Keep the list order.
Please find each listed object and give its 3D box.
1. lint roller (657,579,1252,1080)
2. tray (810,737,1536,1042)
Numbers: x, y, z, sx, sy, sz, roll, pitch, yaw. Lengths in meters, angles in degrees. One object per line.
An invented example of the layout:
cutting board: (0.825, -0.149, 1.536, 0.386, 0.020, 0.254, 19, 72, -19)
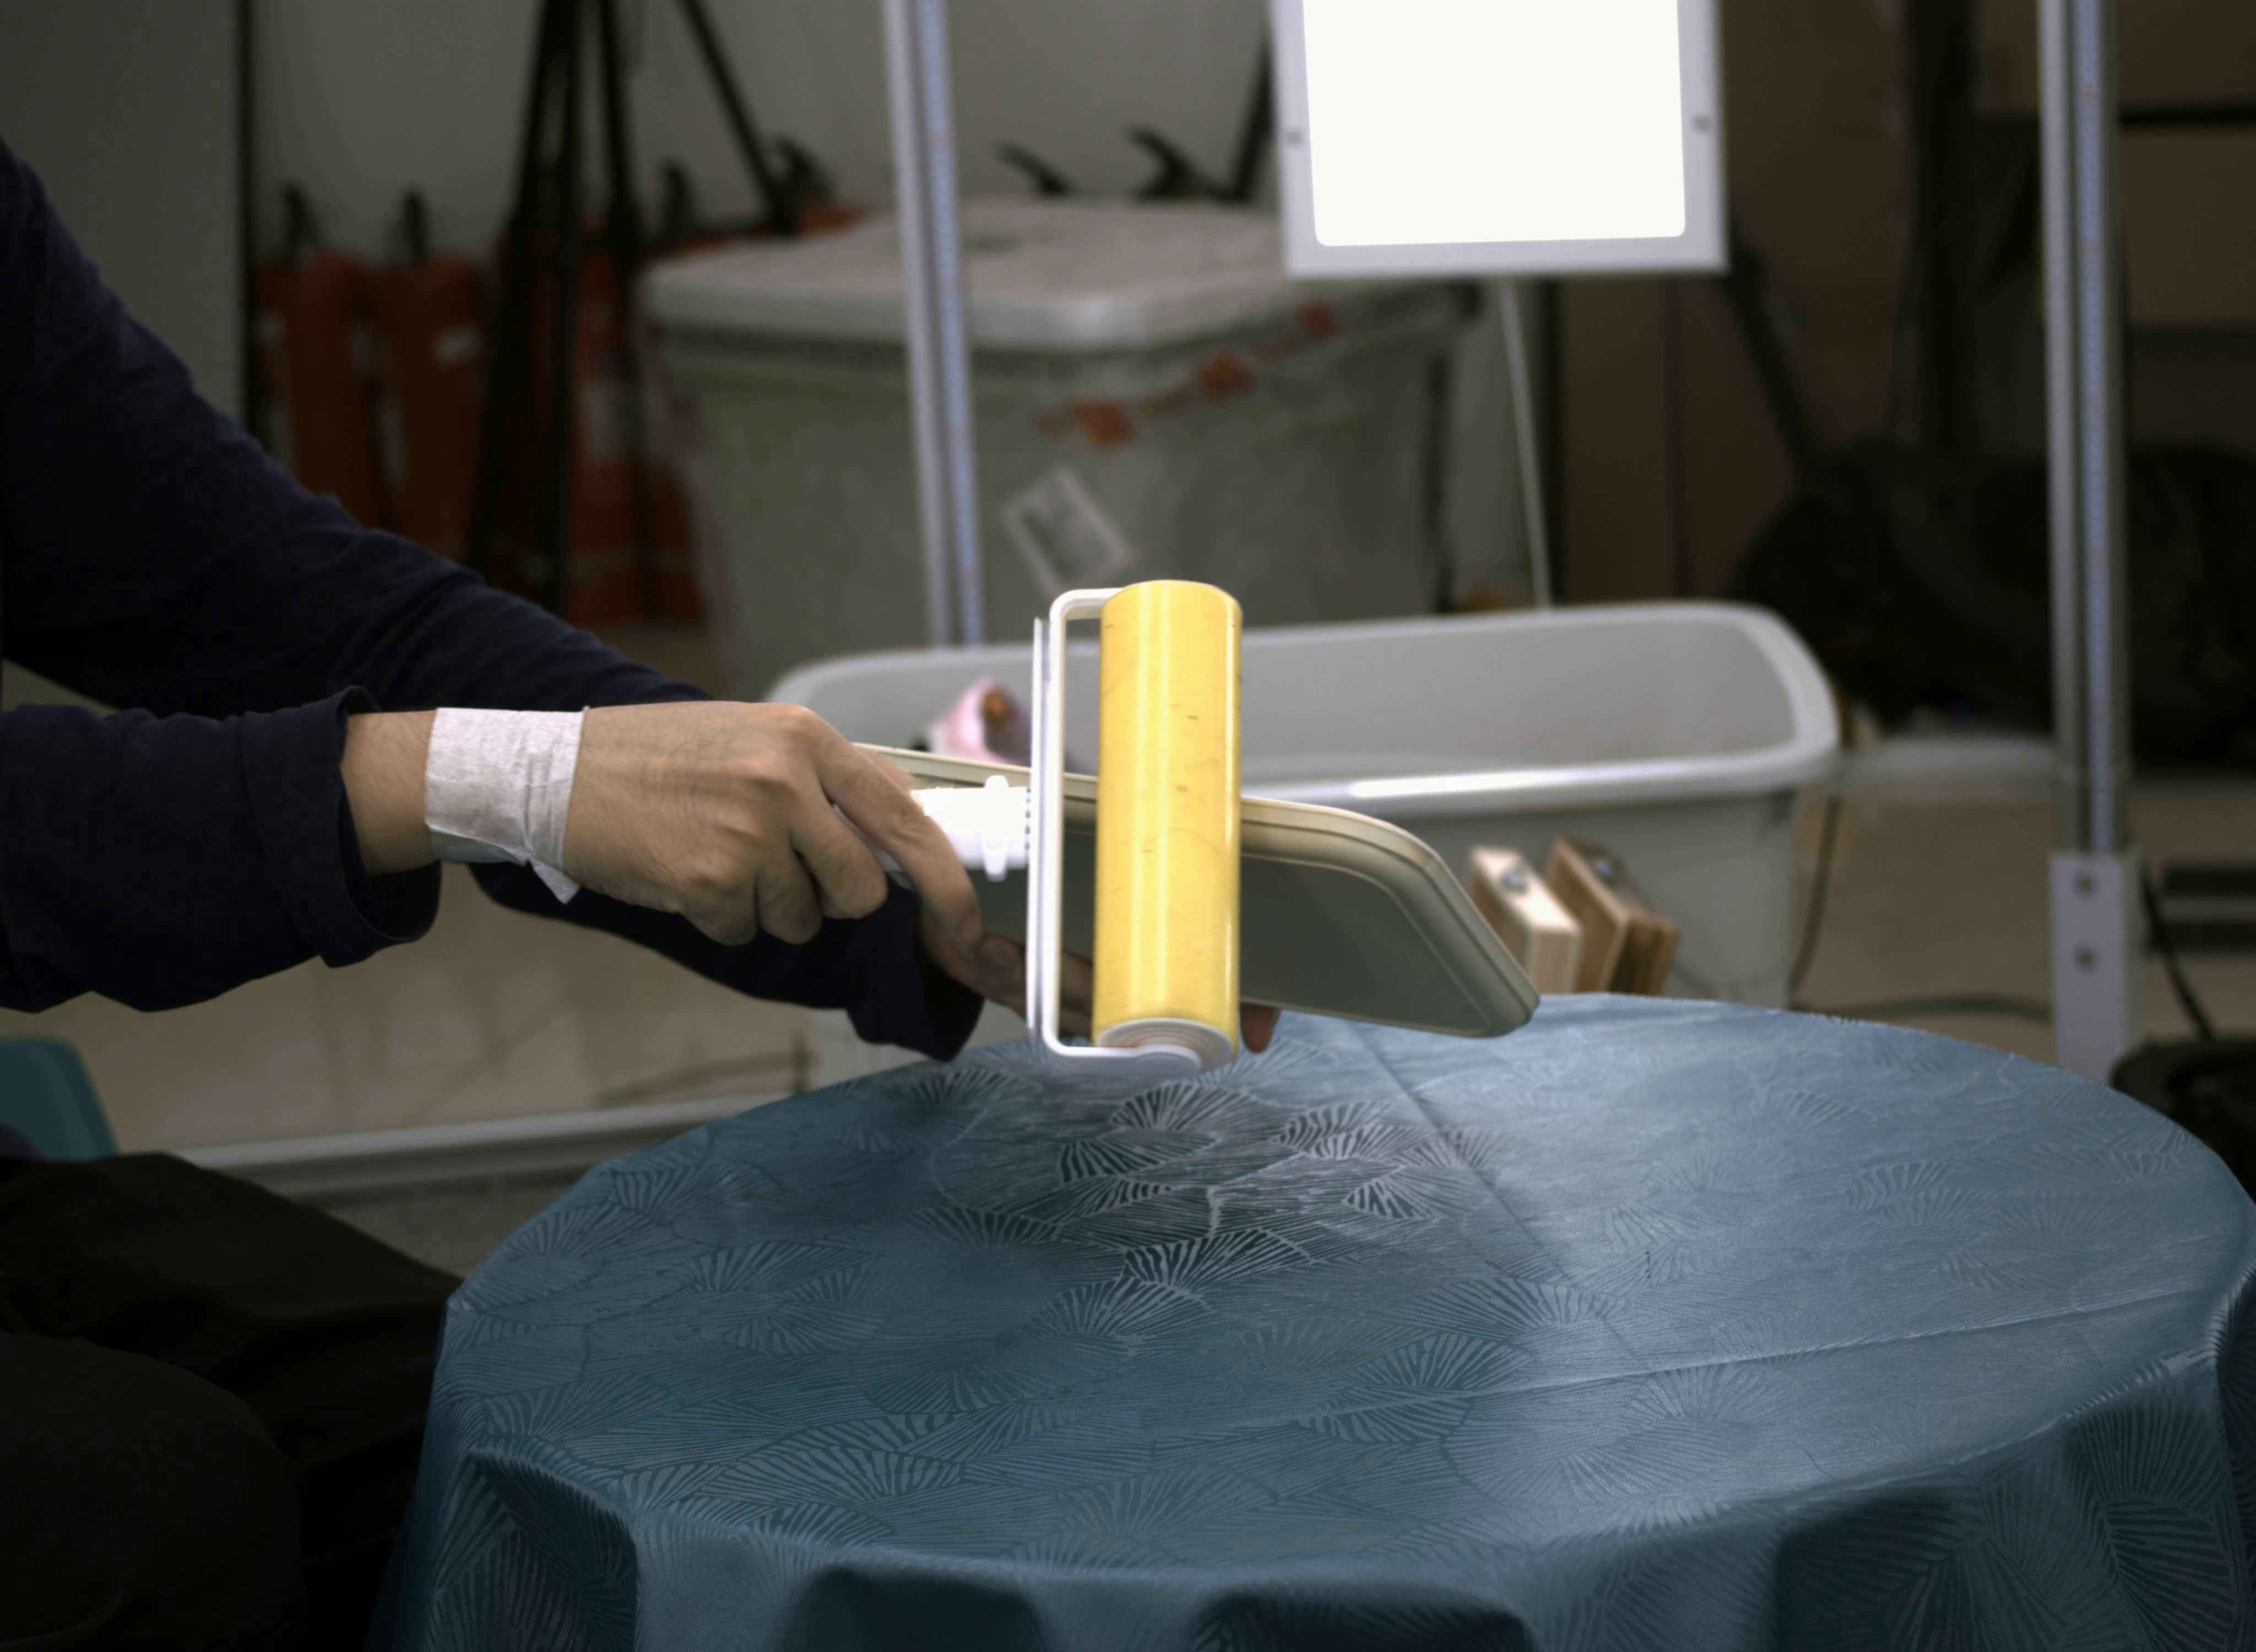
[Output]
lint roller: (-0.057, -0.001, 1.792, 0.191, 0.174, 0.052, 1, -28, -3)
tray: (0.014, 0.025, 1.909, 0.244, 0.017, 0.169, 8, -23, 28)
